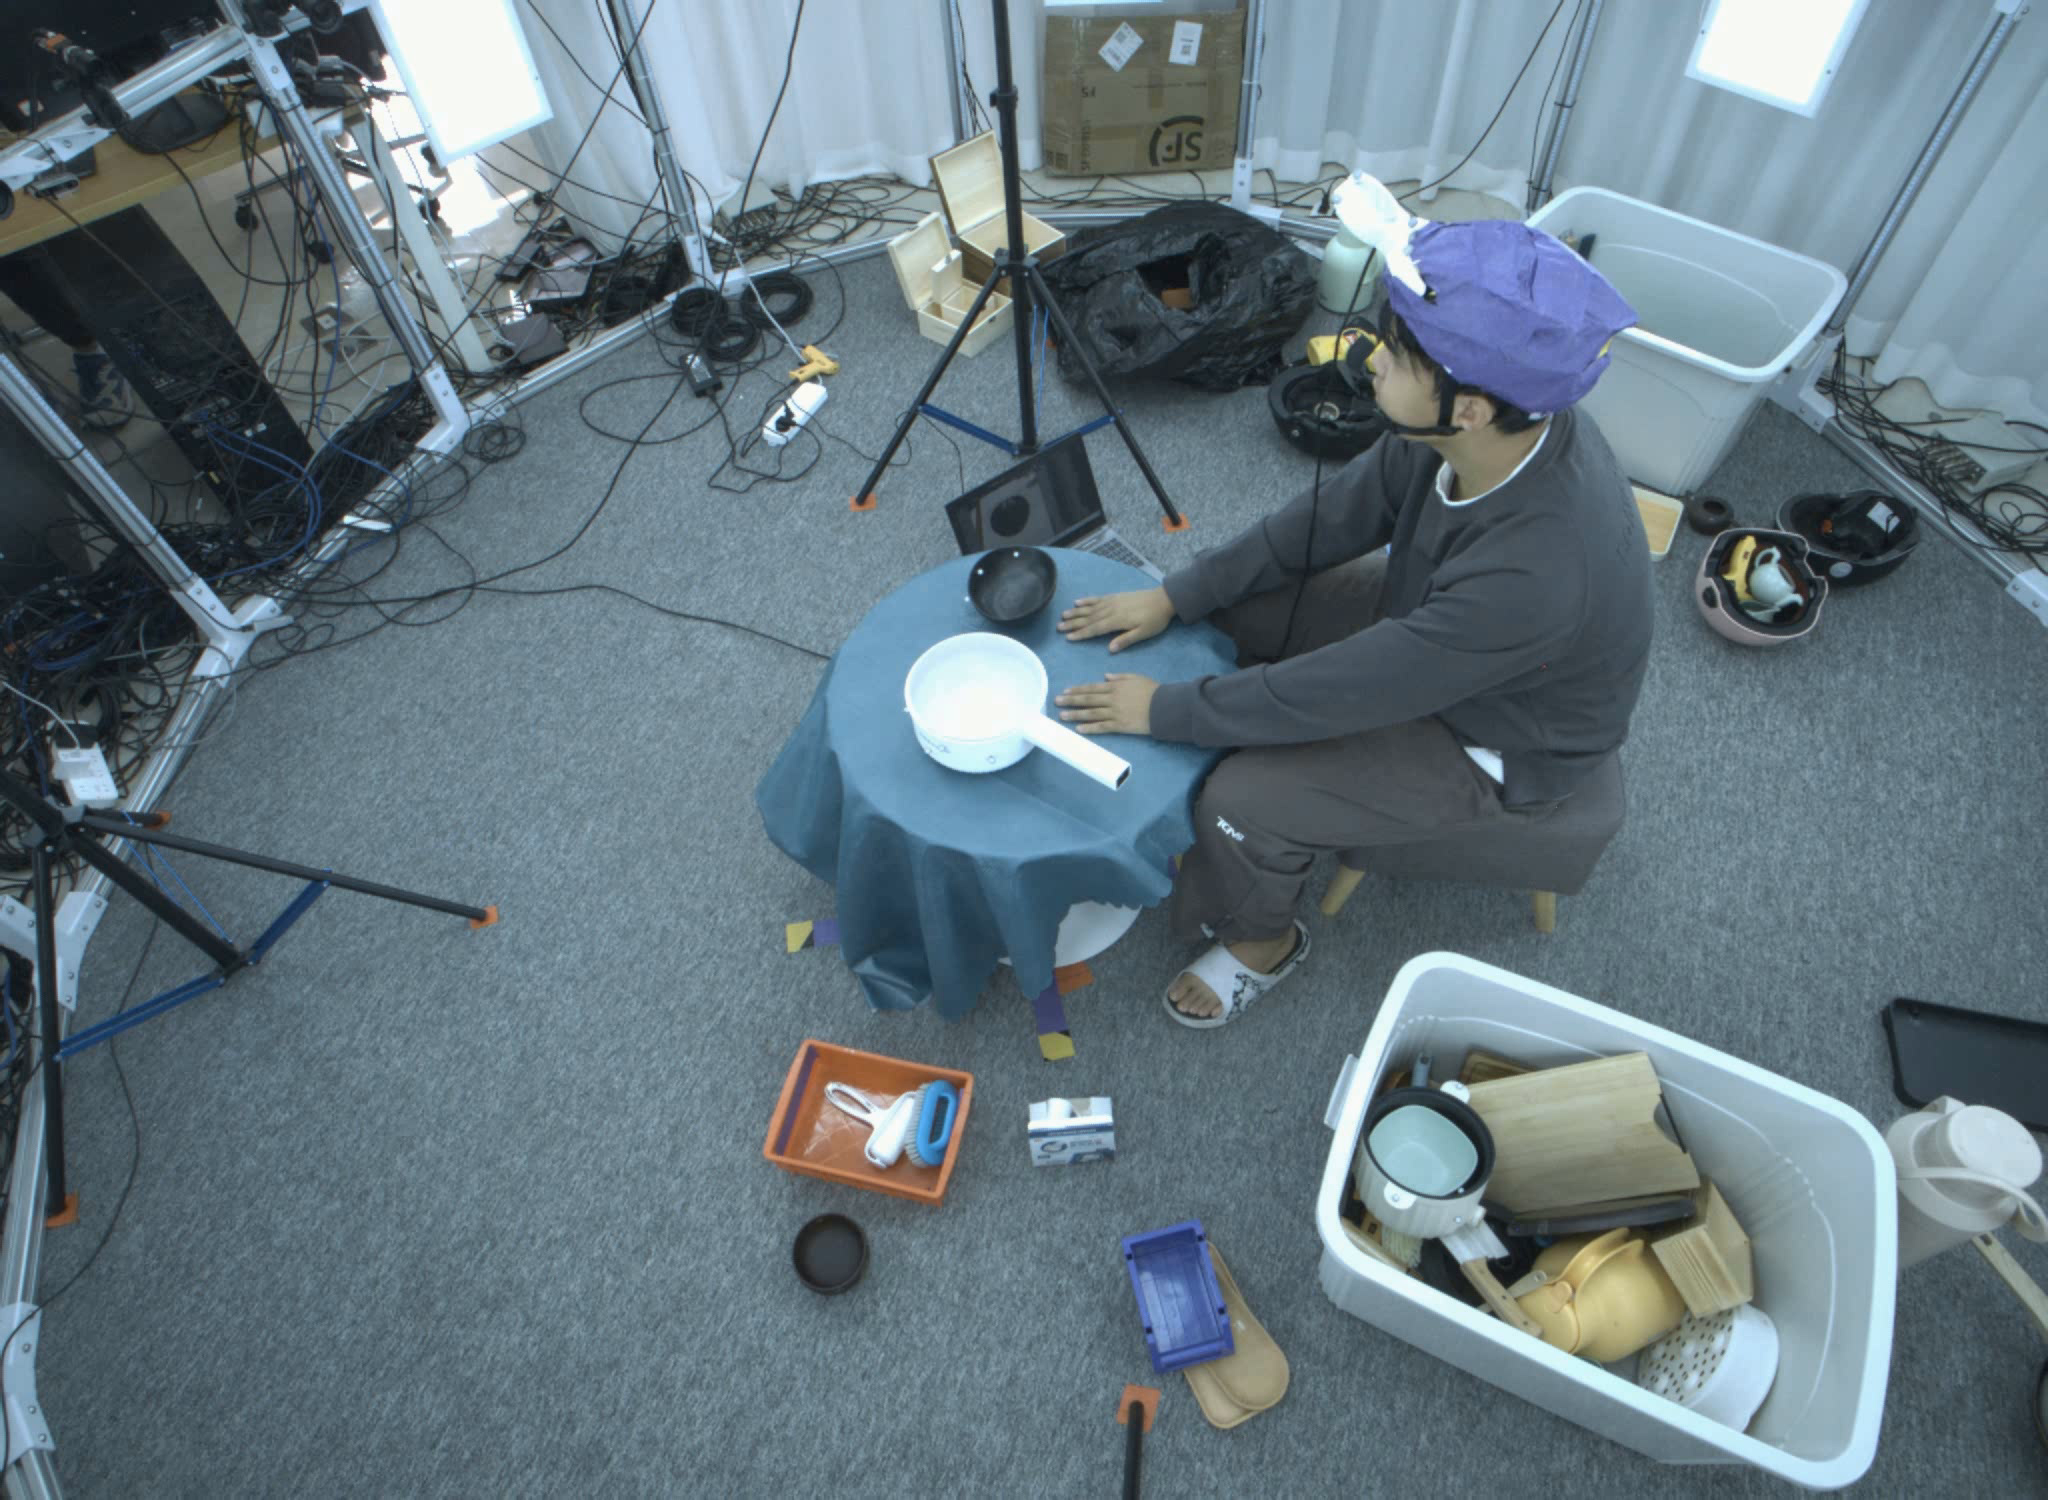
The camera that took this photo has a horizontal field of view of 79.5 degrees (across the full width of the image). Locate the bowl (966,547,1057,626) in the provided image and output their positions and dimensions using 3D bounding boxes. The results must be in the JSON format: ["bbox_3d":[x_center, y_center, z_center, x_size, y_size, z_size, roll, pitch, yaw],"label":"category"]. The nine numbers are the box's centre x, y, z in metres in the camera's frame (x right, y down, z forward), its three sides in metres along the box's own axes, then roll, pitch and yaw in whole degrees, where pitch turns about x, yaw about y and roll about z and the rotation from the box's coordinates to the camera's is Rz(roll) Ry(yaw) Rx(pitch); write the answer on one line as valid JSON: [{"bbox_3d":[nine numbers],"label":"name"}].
[{"bbox_3d":[-0.017,-0.249,1.924,0.136,0.067,0.170,14,55,11],"label":"bowl"}]

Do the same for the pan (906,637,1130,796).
[{"bbox_3d":[-0.006,-0.022,1.753,0.349,0.103,0.202,31,58,19],"label":"pan"}]
